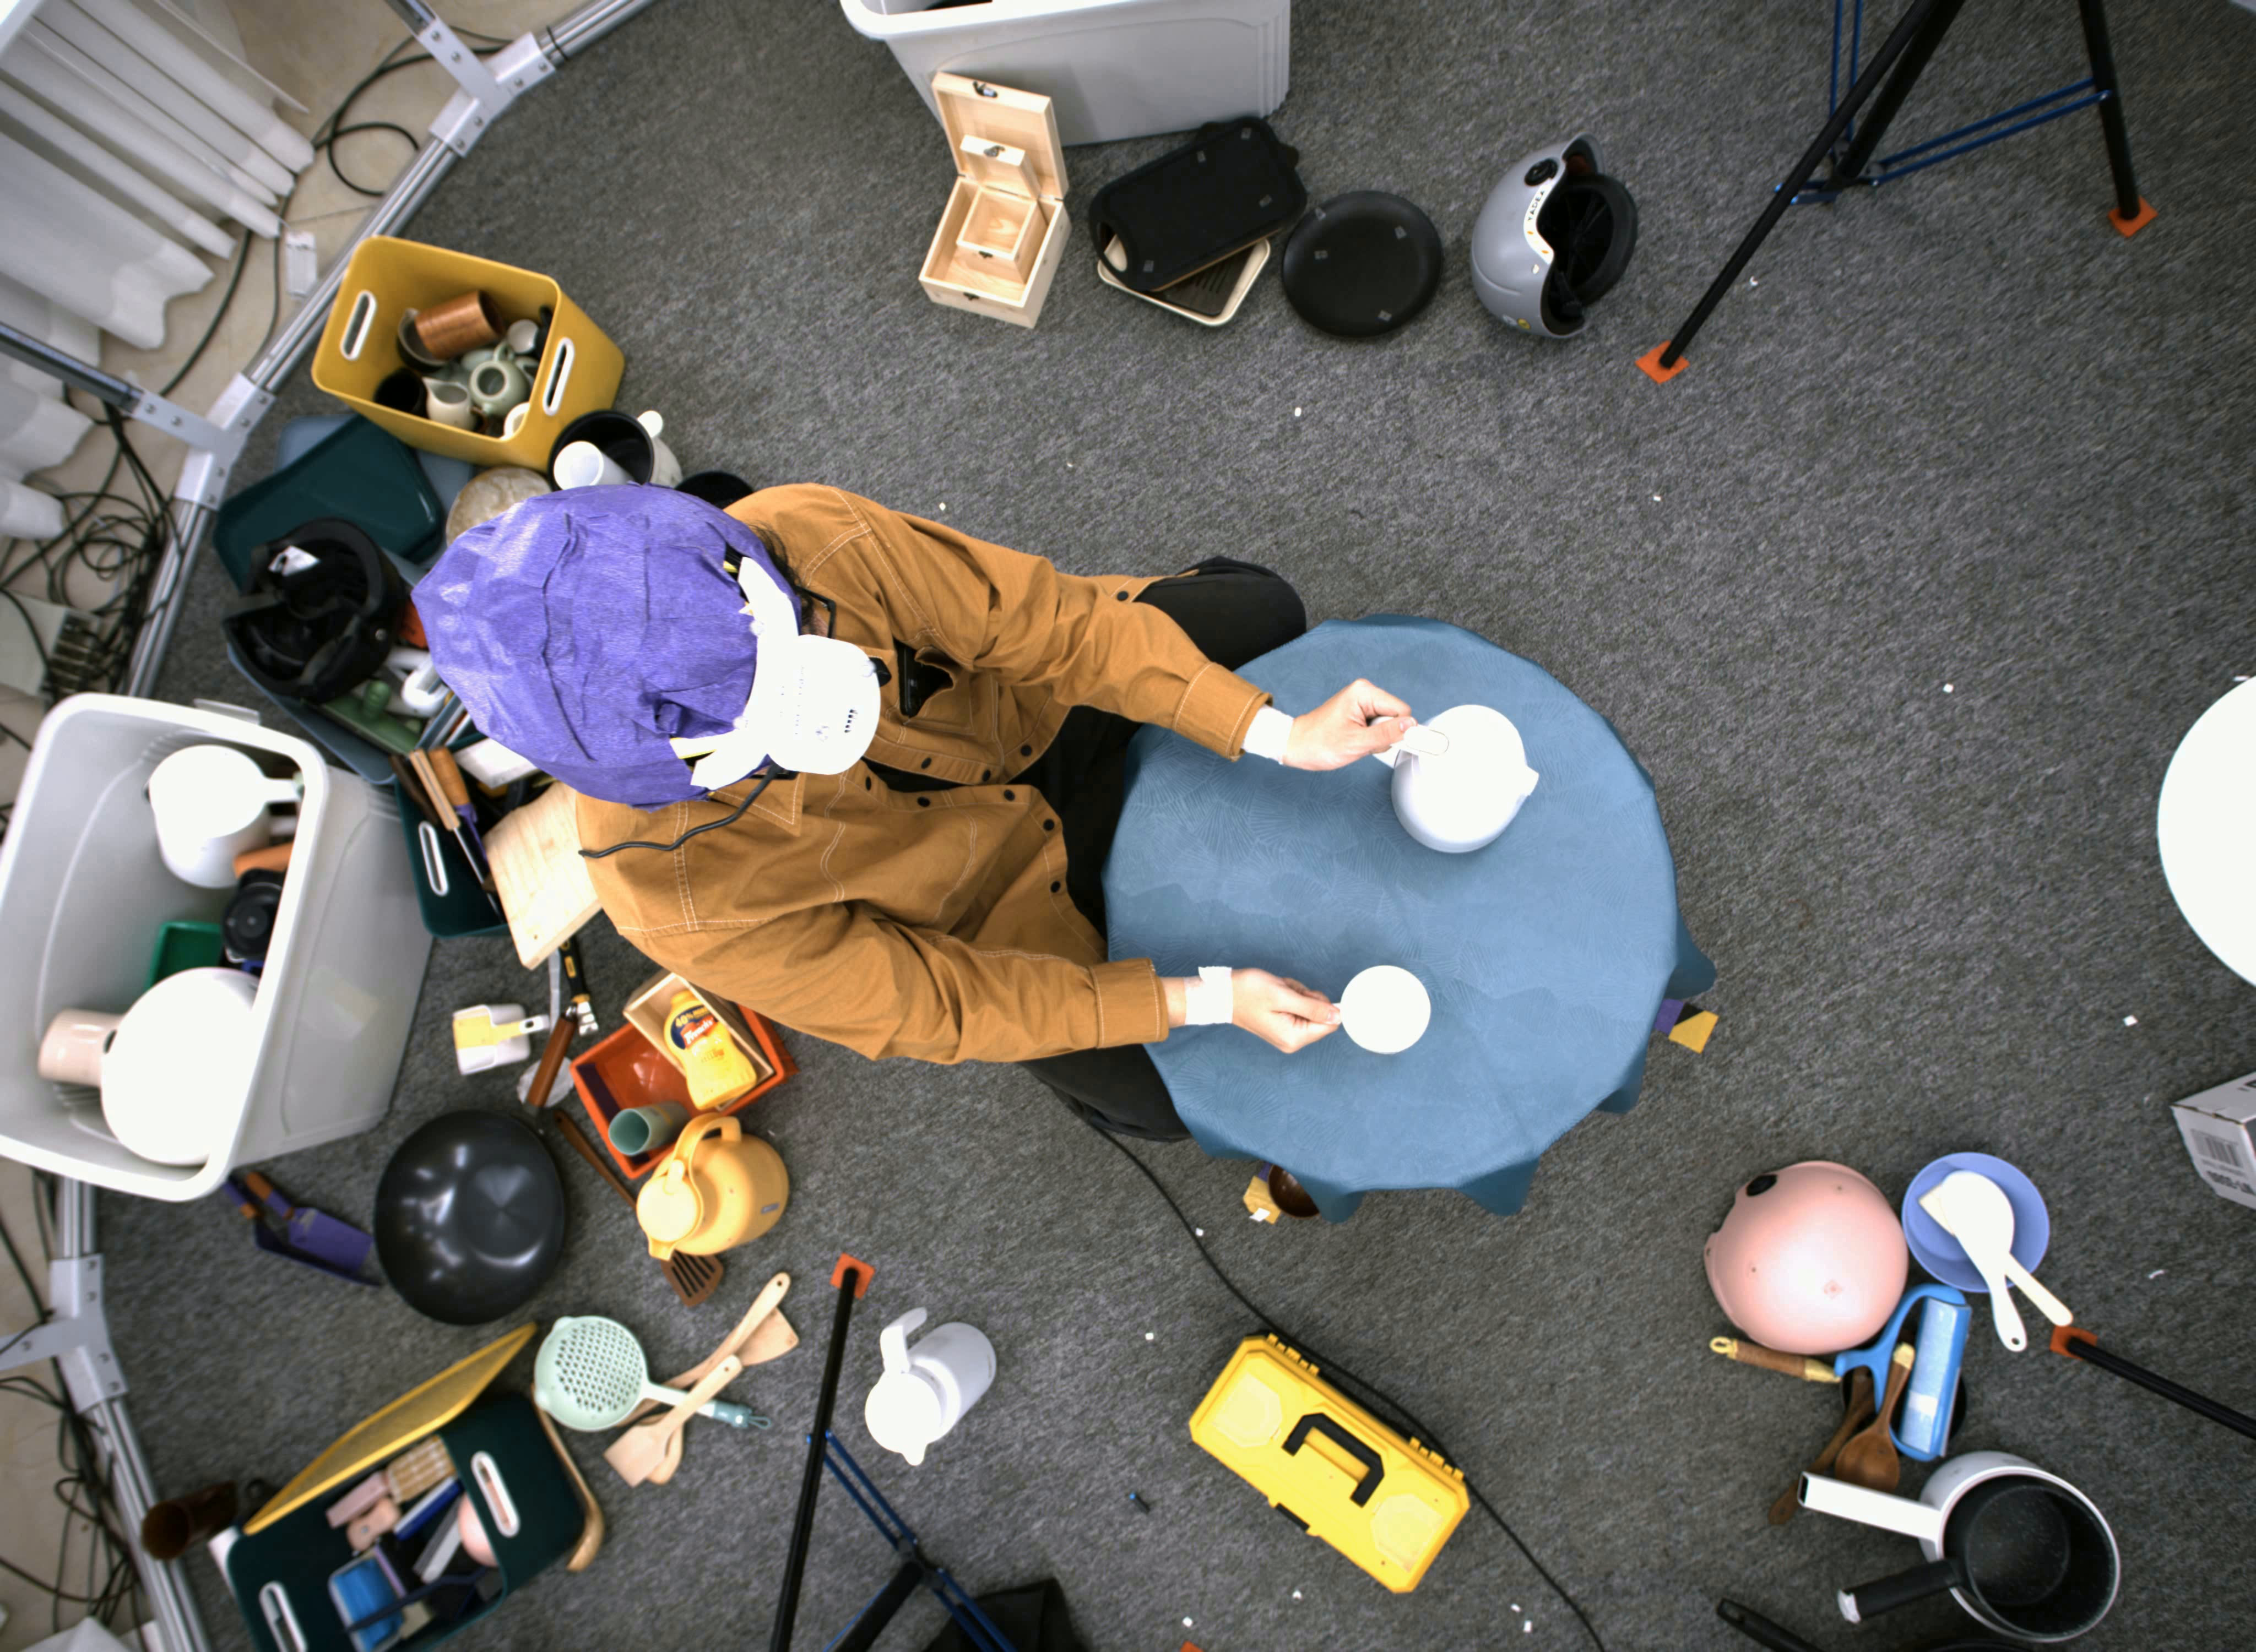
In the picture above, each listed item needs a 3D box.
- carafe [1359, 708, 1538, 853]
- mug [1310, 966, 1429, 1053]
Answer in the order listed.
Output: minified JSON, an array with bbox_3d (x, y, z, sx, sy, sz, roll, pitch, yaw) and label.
[{"bbox_3d":[0.306,-0.056,1.335,0.167,0.248,0.132,22,90,12],"label":"carafe"},{"bbox_3d":[0.245,0.186,1.408,0.119,0.102,0.084,-7,85,10],"label":"mug"}]
